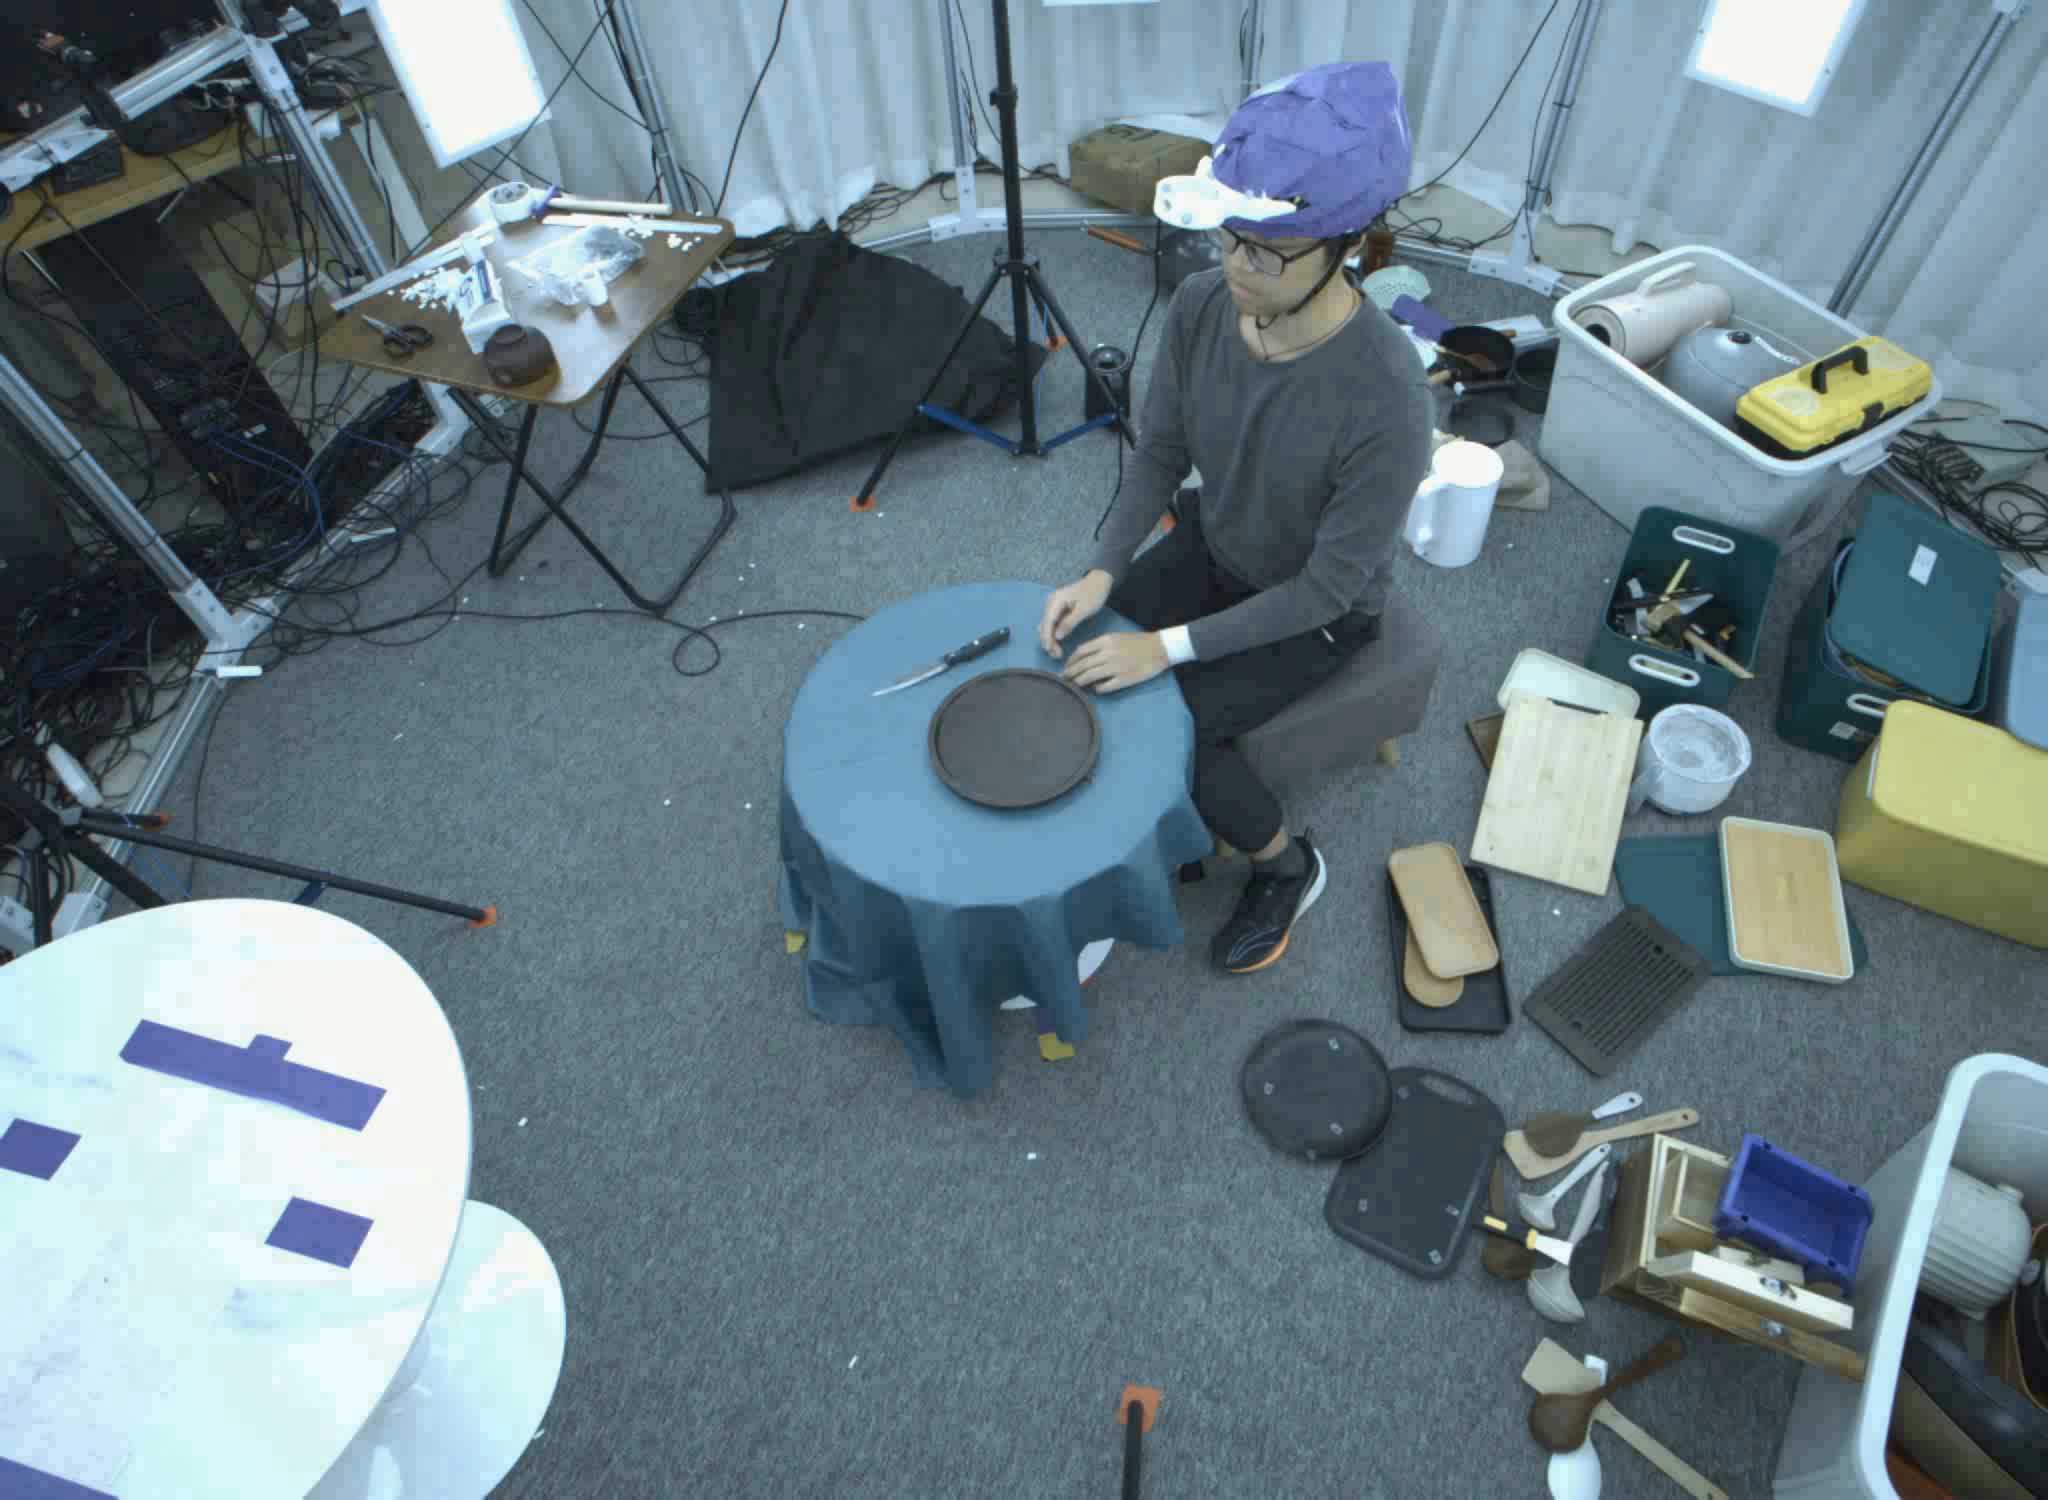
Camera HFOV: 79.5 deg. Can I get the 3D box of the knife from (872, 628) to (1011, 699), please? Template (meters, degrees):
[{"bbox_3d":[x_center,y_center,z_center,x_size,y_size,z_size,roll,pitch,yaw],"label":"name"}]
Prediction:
[{"bbox_3d":[-0.129,-0.133,1.887,0.240,0.016,0.024,-27,61,-14],"label":"knife"}]

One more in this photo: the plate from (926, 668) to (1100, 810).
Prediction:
[{"bbox_3d":[-0.016,-0.018,1.794,0.254,0.029,0.252,0,55,2],"label":"plate"}]
